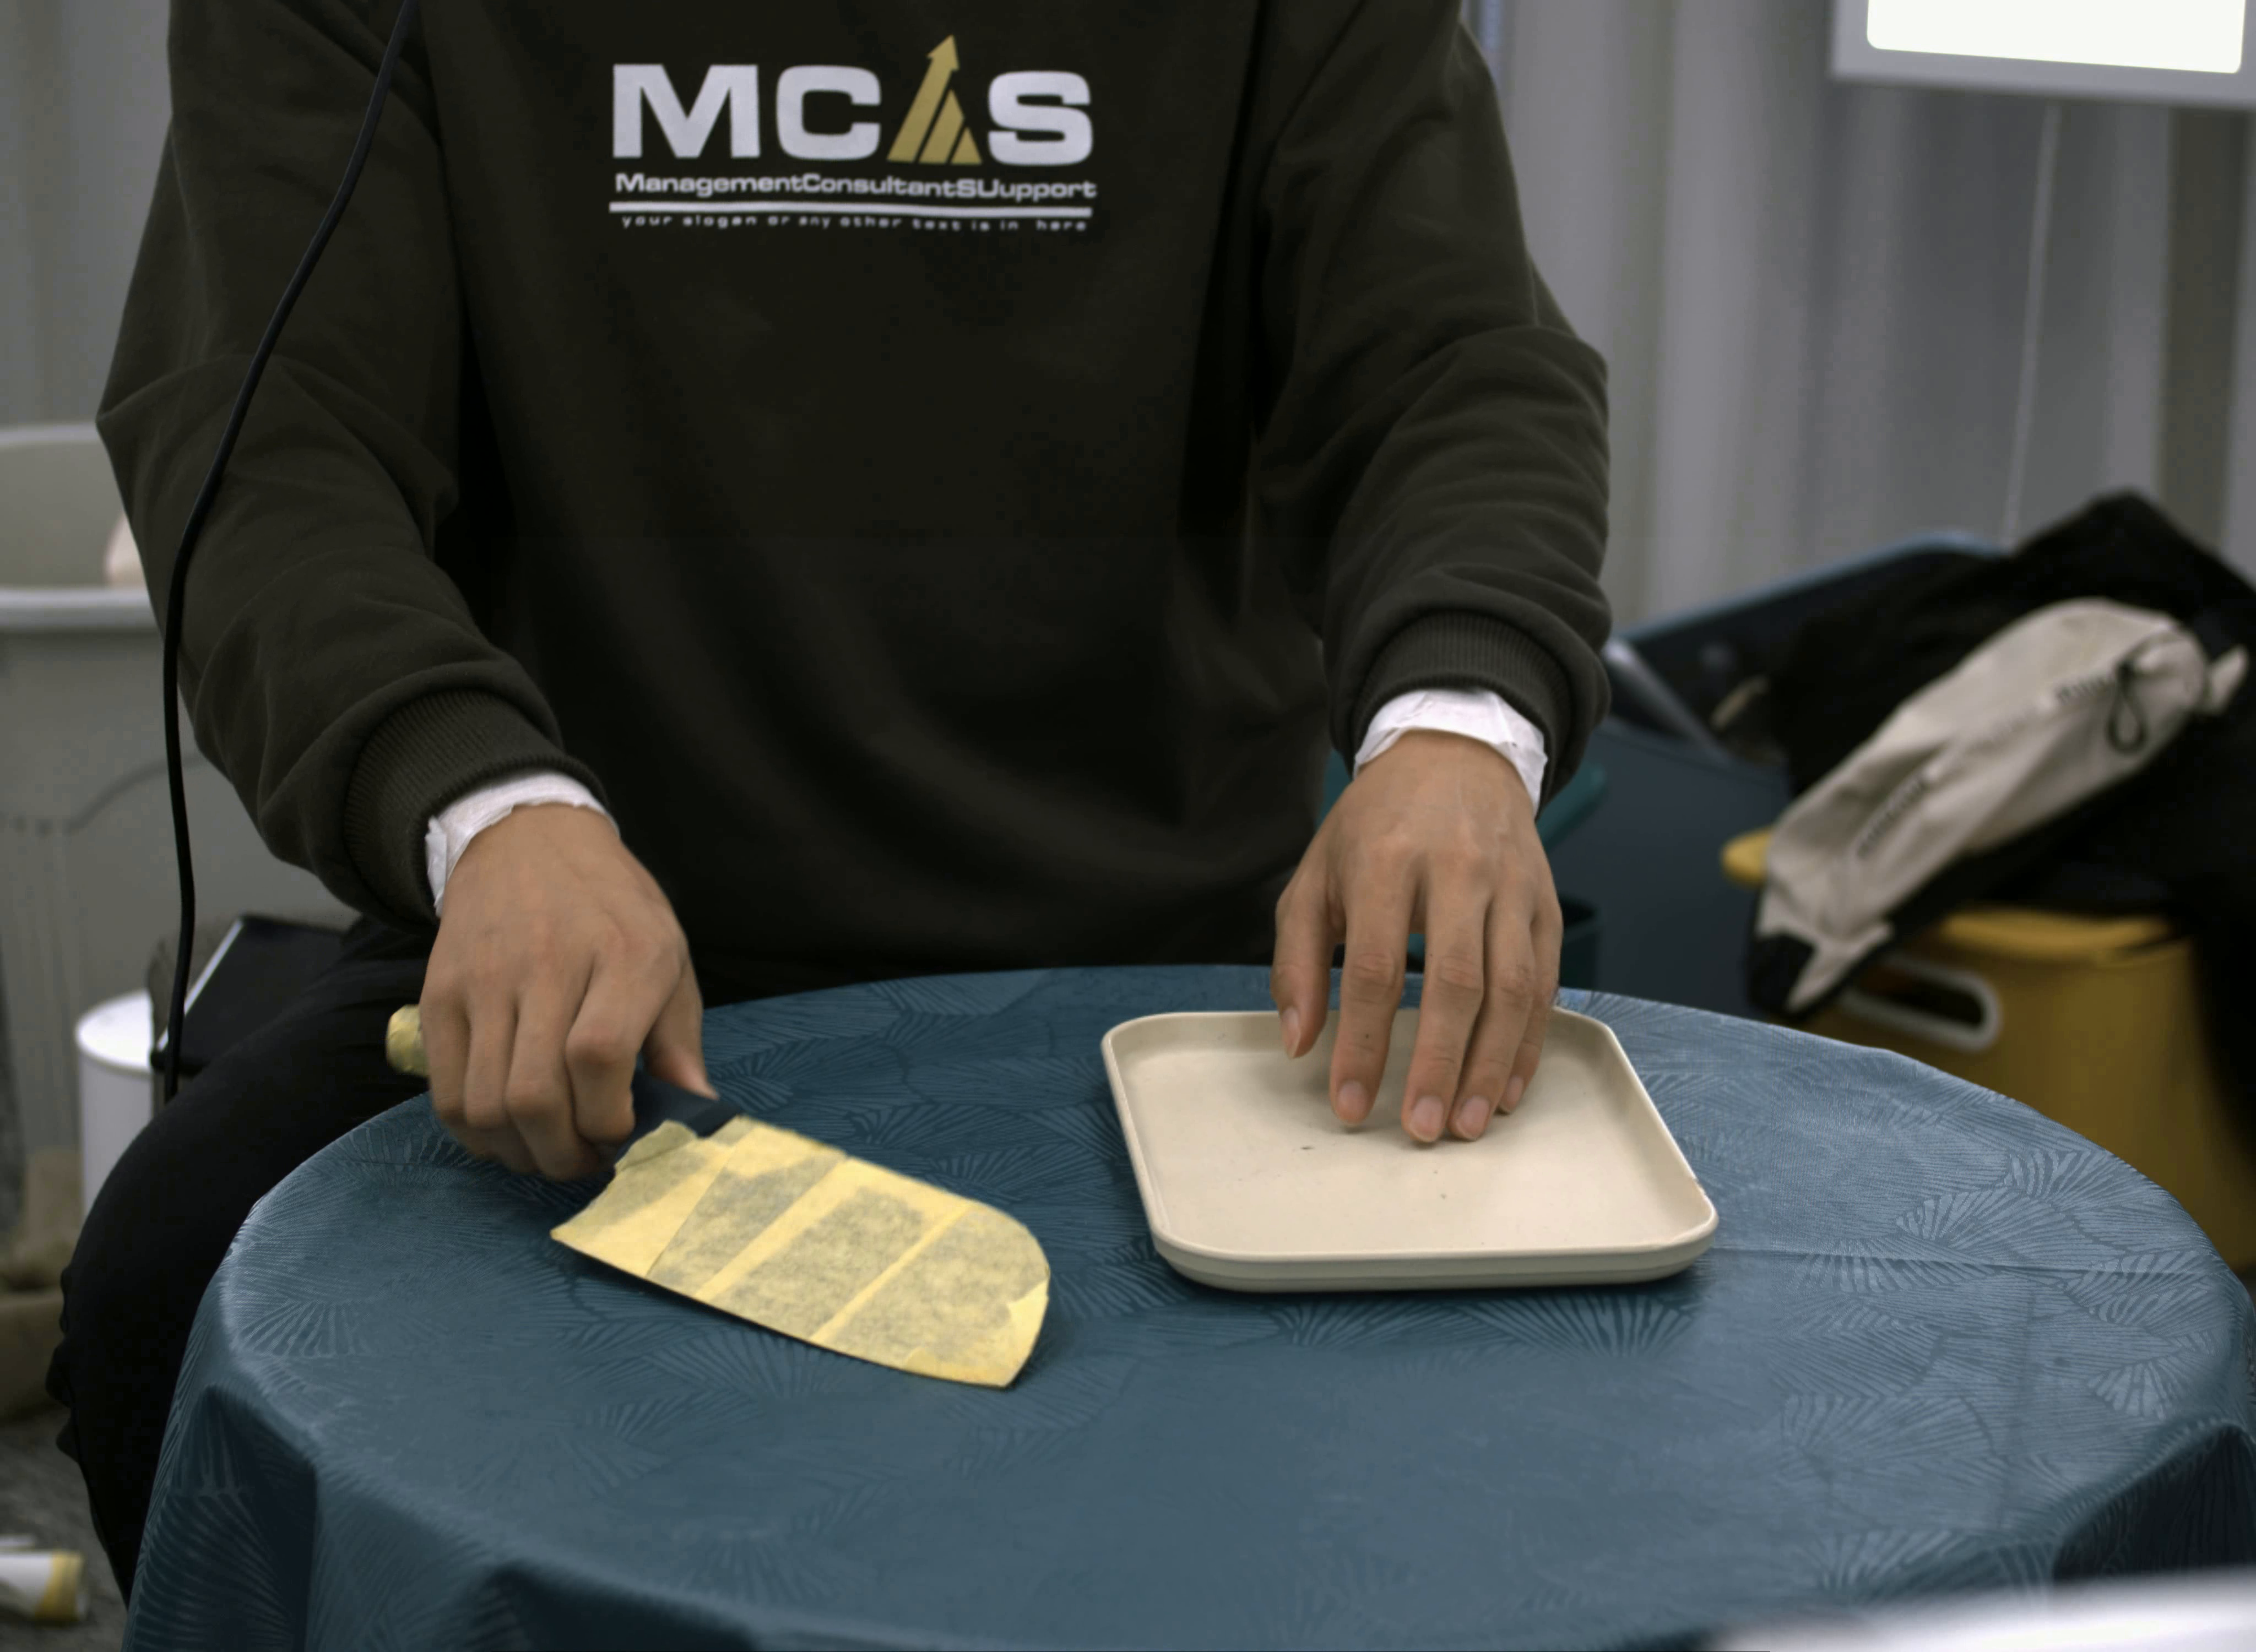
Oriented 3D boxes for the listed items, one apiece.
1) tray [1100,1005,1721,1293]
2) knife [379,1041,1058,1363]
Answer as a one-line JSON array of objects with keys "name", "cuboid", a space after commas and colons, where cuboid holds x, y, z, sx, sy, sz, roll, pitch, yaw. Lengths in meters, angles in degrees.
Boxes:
[{"name": "tray", "cuboid": [0.083, 0.099, 1.642, 0.171, 0.017, 0.238, -1, 15, -5]}, {"name": "knife", "cuboid": [-0.131, 0.111, 1.562, 0.285, 0.027, 0.081, 17, 36, 39]}]
